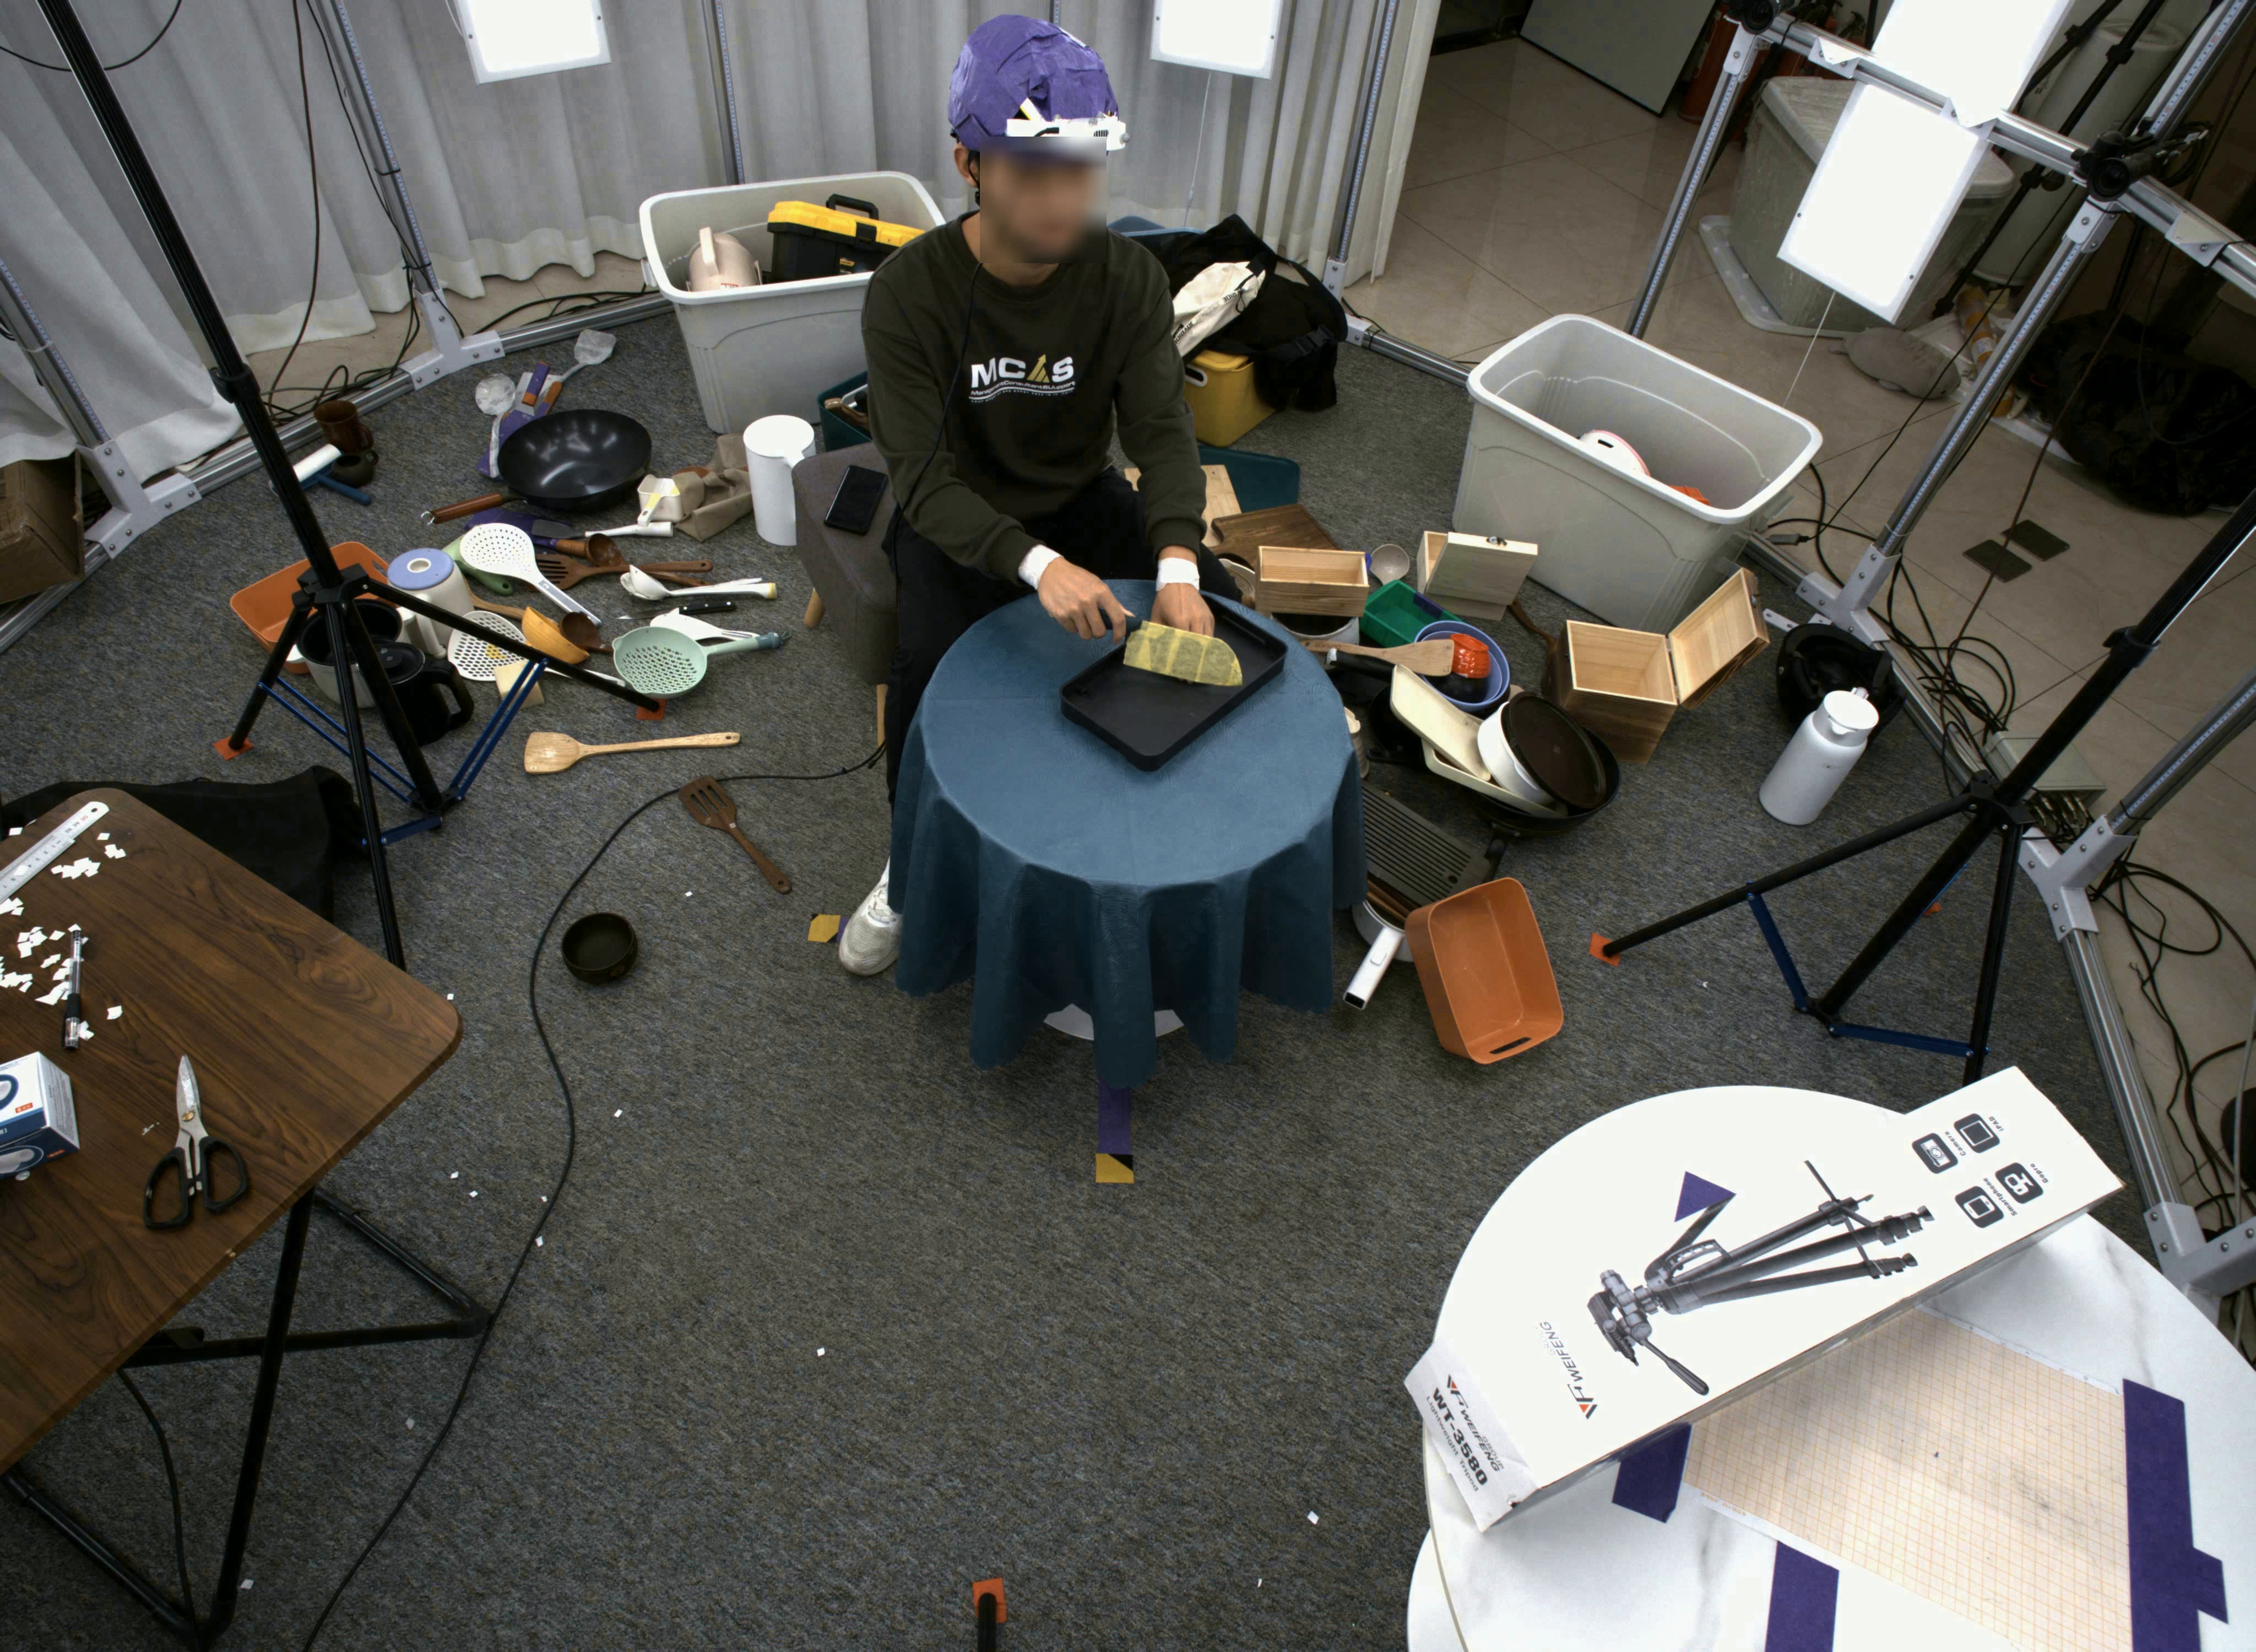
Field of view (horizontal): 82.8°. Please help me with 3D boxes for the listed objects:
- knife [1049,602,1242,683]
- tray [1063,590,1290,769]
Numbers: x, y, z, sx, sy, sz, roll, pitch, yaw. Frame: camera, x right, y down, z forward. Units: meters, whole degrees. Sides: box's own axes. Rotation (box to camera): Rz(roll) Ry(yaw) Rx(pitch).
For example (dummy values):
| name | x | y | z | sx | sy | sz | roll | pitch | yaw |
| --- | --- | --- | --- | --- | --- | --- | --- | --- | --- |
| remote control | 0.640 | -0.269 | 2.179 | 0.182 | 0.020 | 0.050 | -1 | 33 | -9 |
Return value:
| name | x | y | z | sx | sy | sz | roll | pitch | yaw |
| --- | --- | --- | --- | --- | --- | --- | --- | --- | --- |
| knife | 0.024 | -0.261 | 1.822 | 0.289 | 0.079 | 0.028 | 17 | 28 | 2 |
| tray | 0.072 | -0.216 | 1.835 | 0.187 | 0.036 | 0.321 | 34 | 55 | 23 |
